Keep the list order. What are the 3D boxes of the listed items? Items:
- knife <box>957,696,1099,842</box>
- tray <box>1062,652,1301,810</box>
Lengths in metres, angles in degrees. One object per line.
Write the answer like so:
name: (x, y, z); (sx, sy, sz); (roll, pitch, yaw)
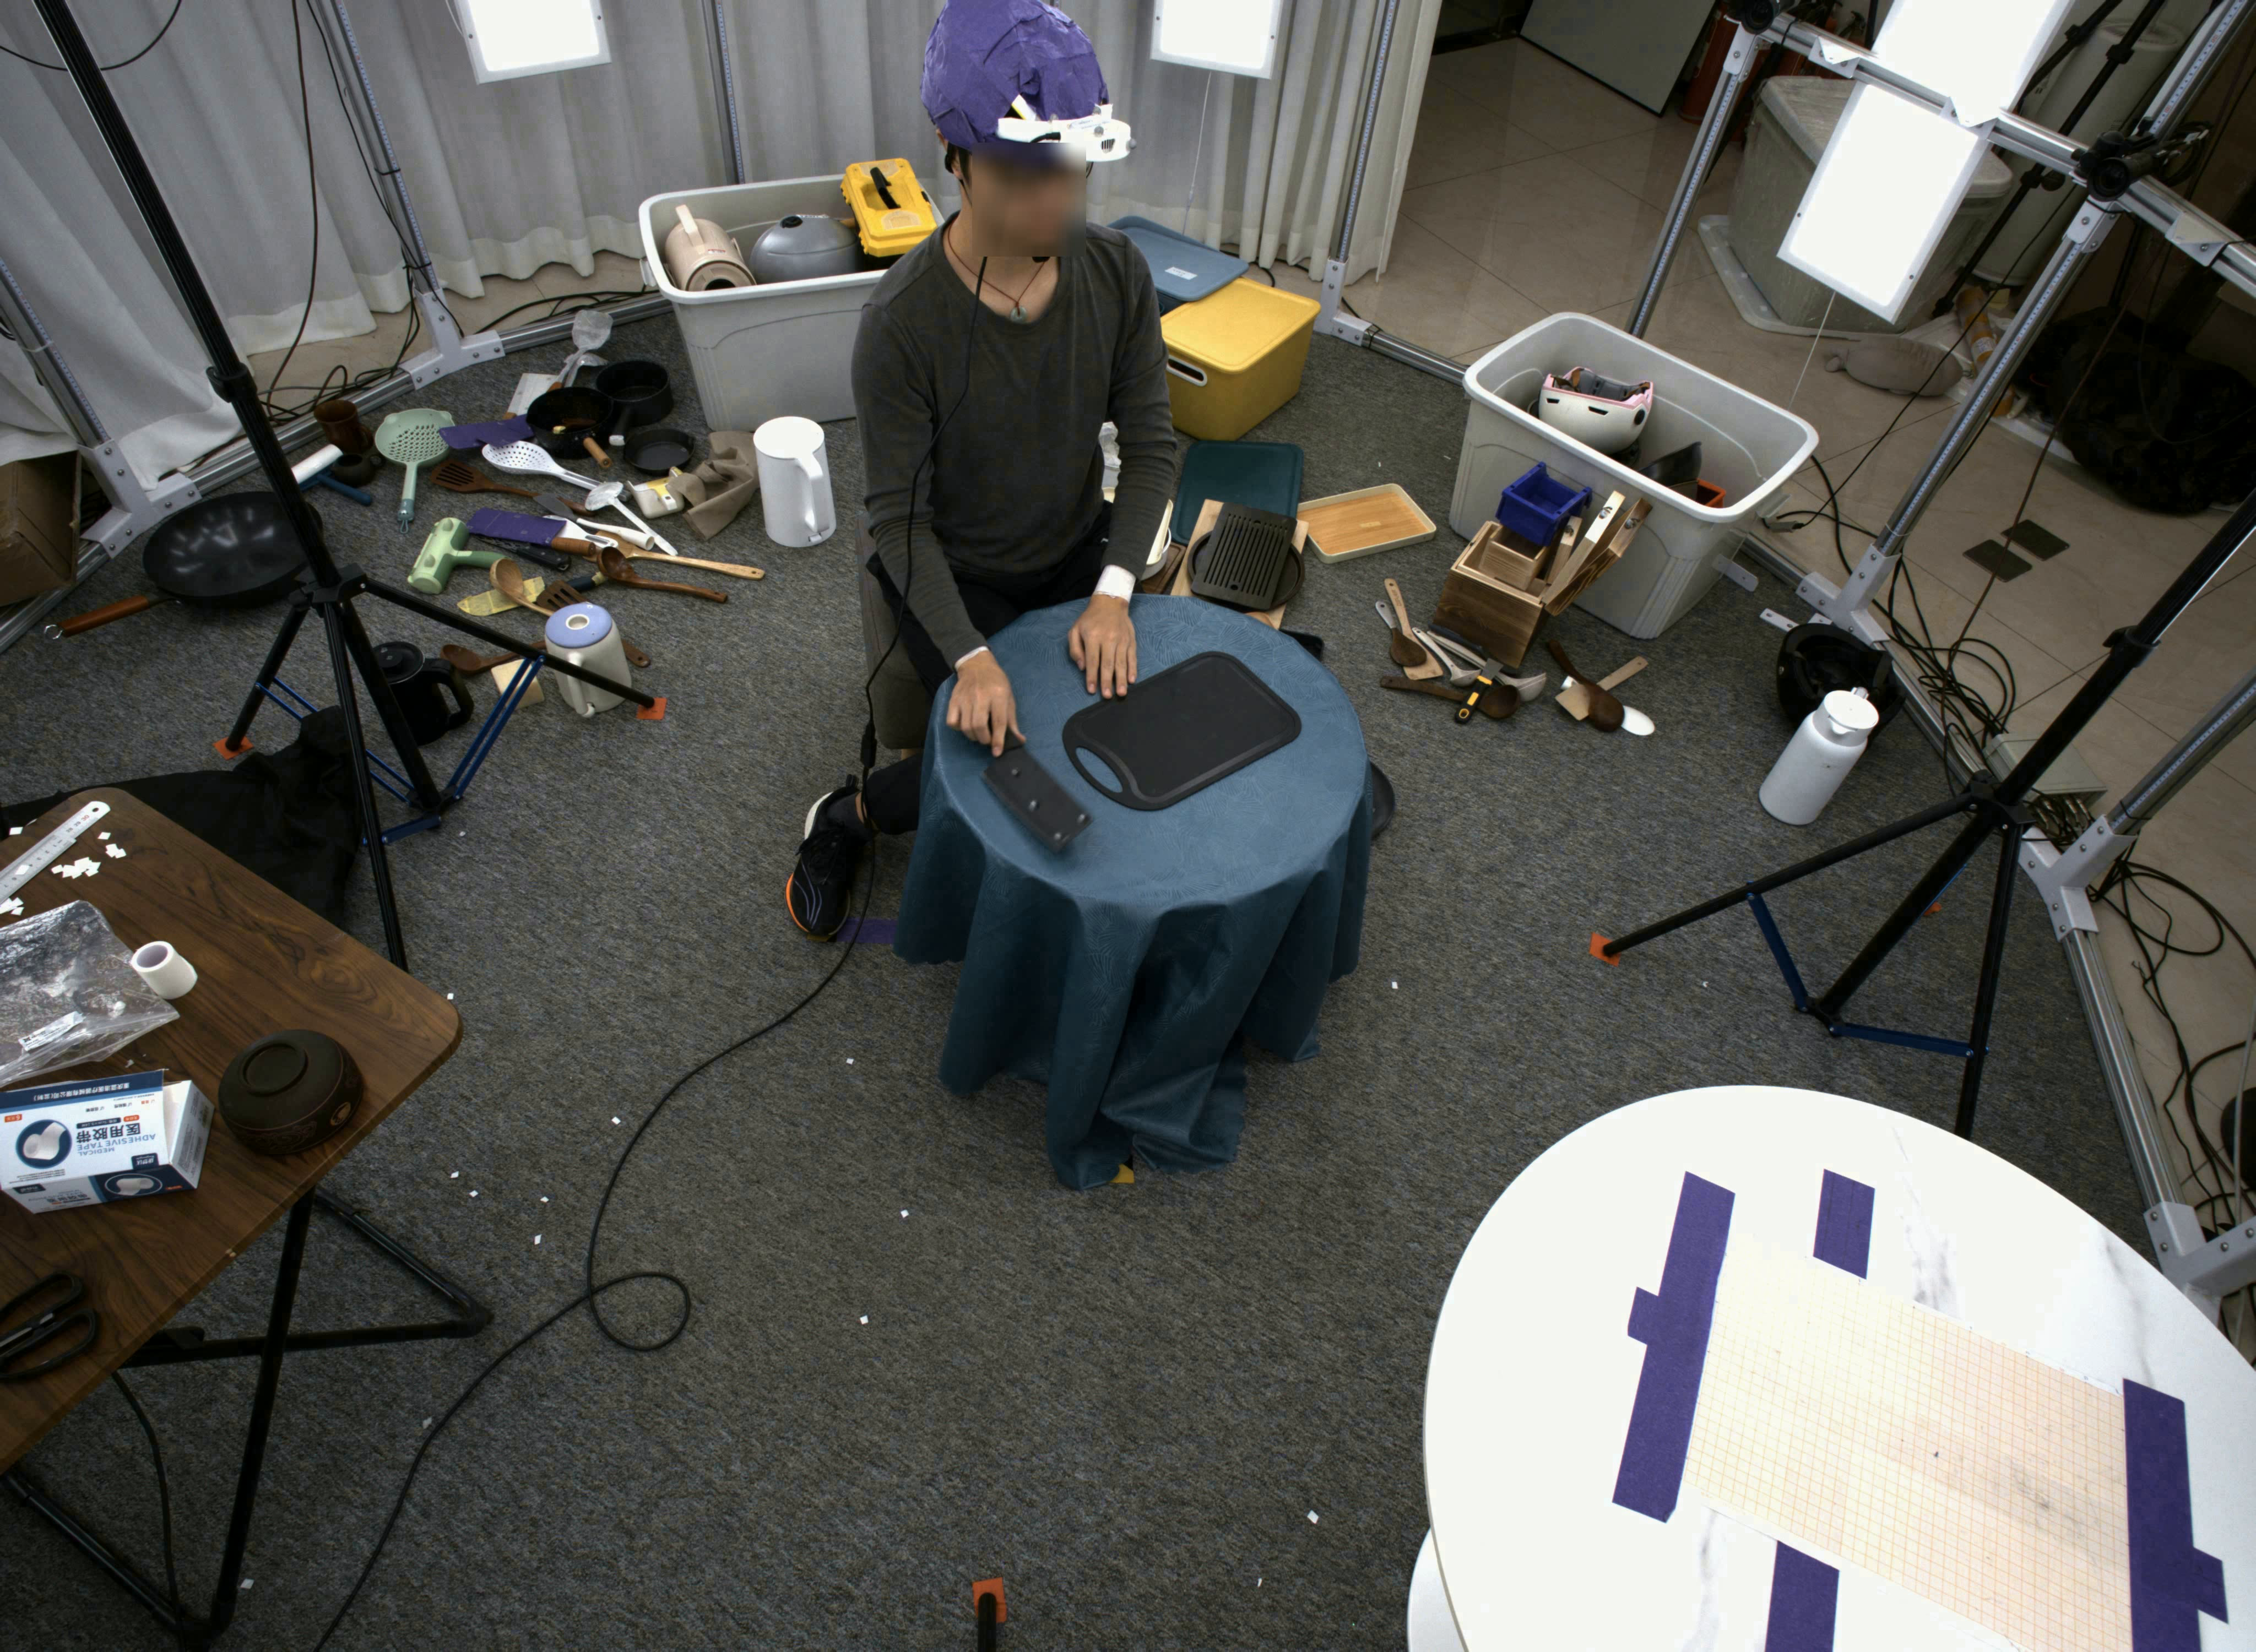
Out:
knife: (-0.144, -0.082, 1.688); (0.081, 0.020, 0.308); (-36, 52, -7)
tray: (0.071, -0.136, 1.786); (0.327, 0.009, 0.215); (-27, 55, -24)
